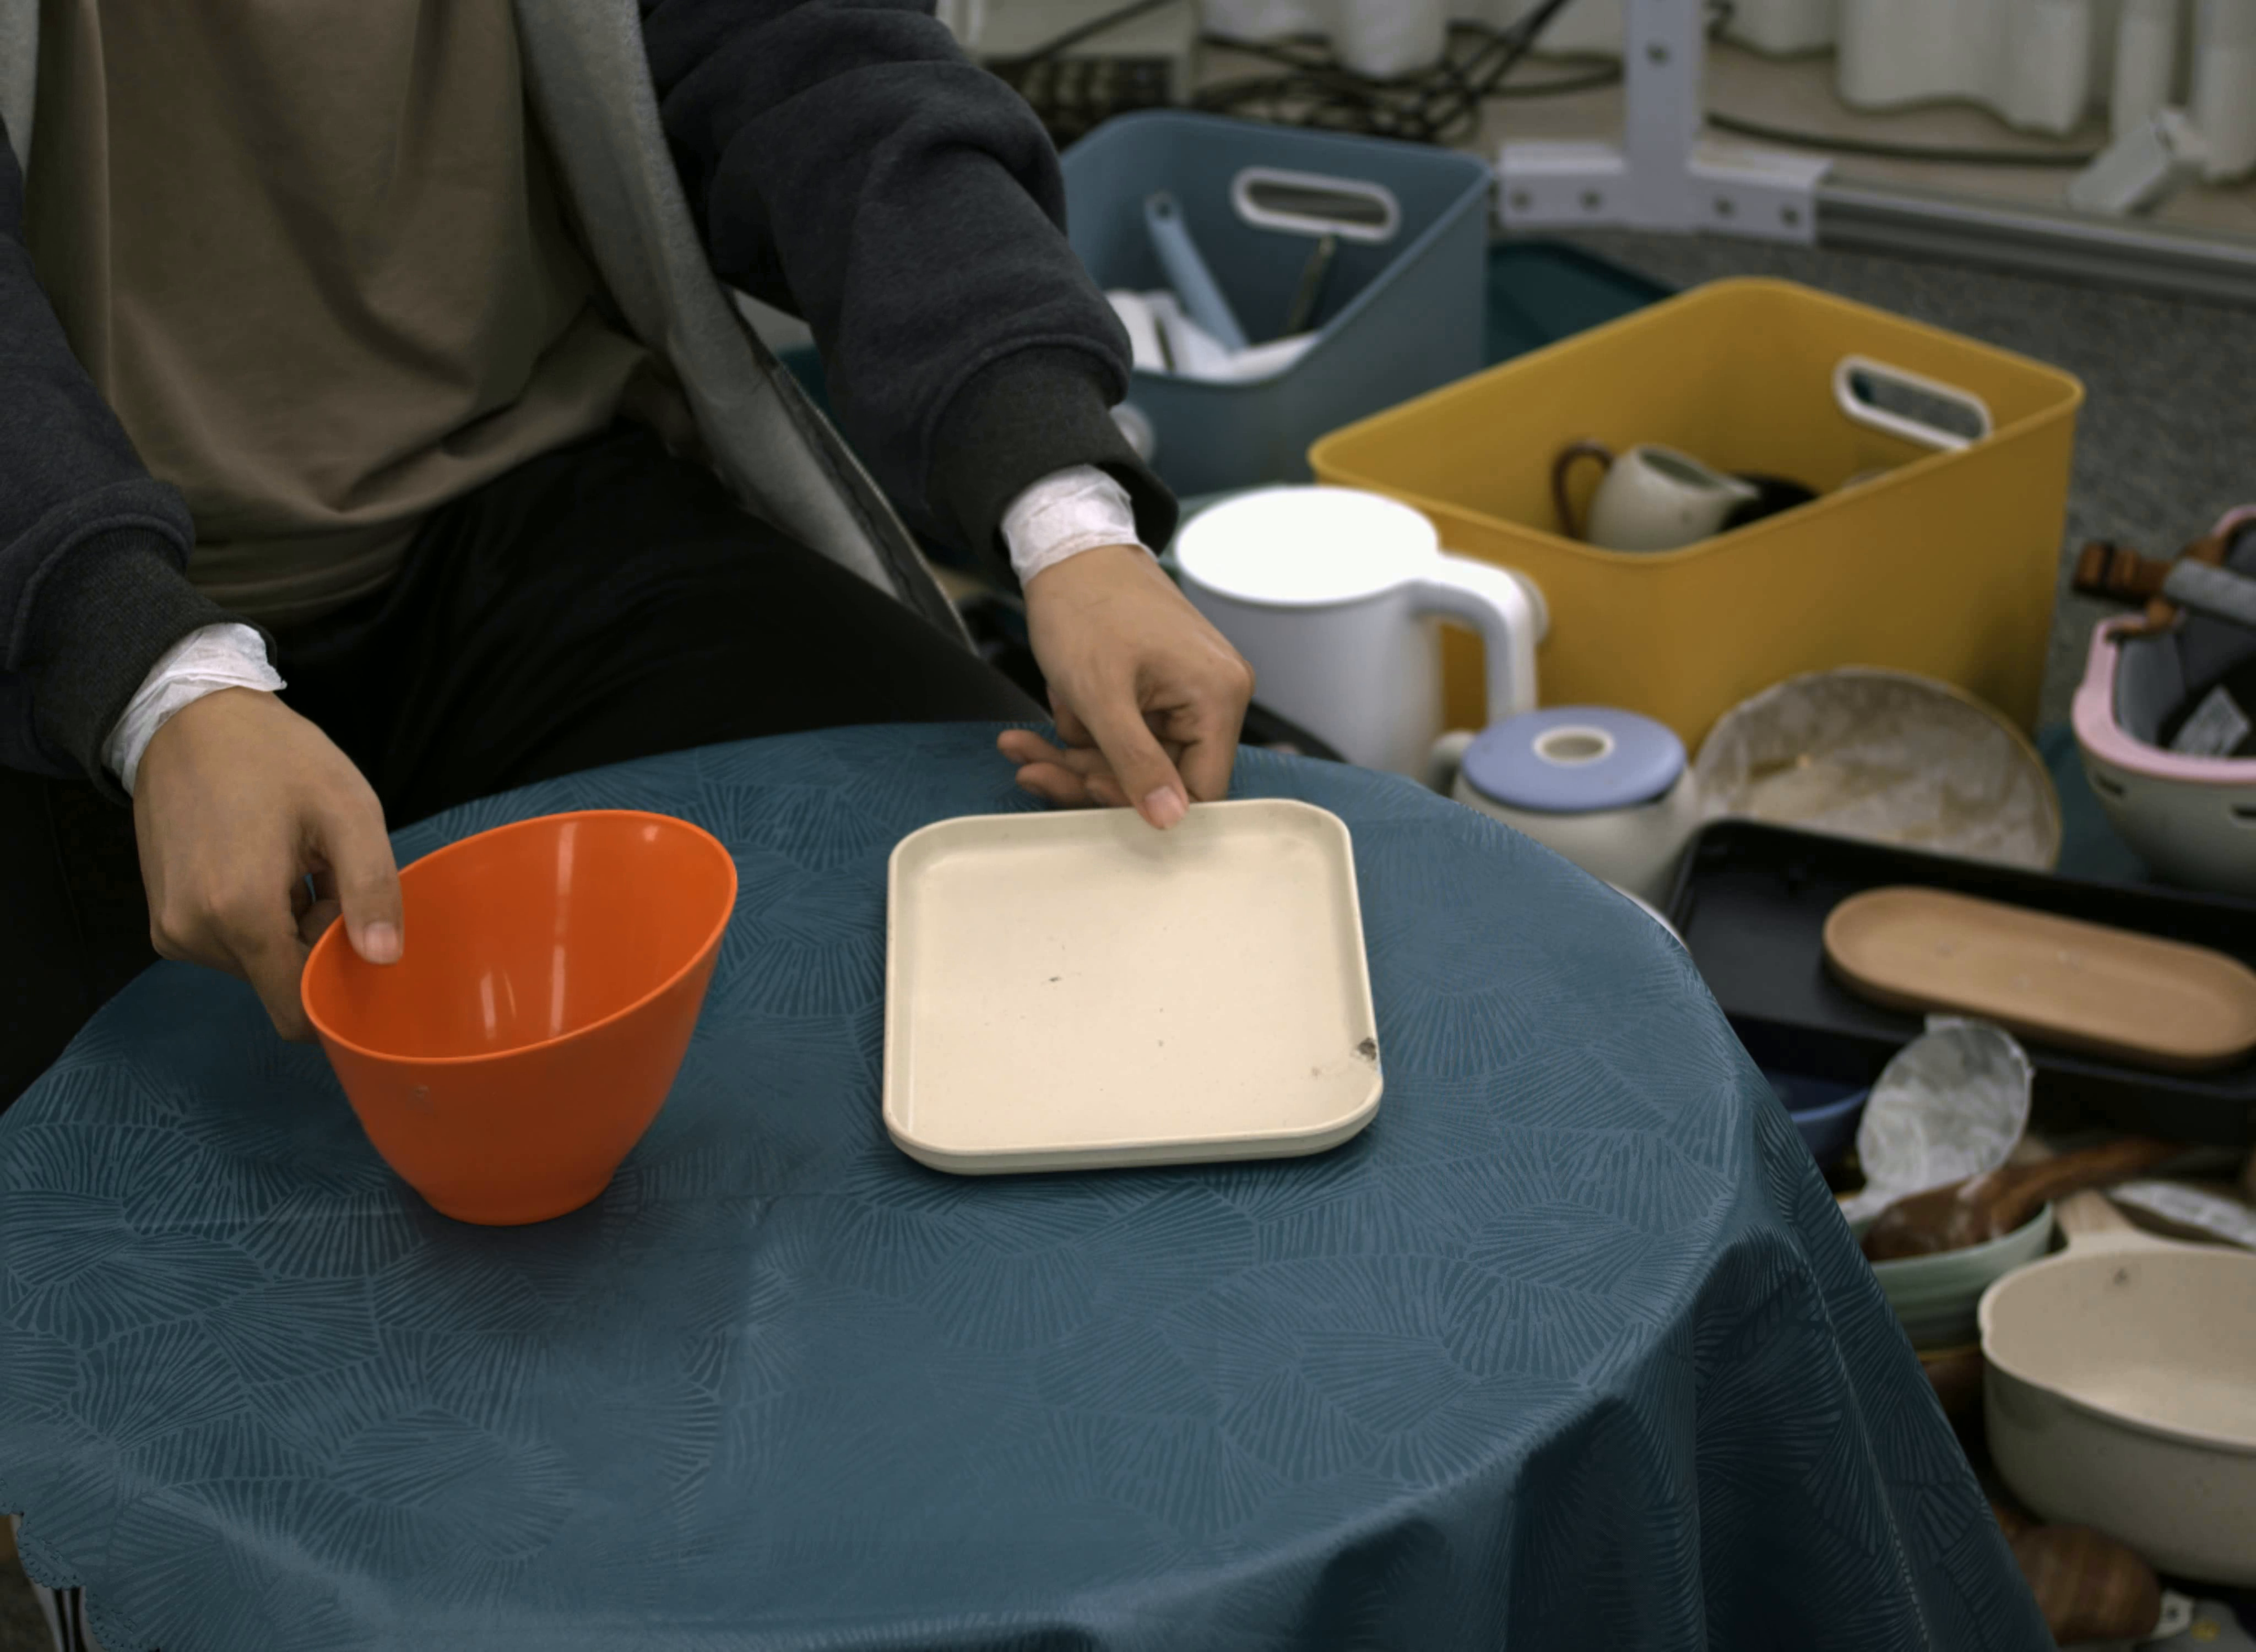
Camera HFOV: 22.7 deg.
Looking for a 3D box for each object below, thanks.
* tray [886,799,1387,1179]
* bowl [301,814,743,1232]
[{"bbox_3d":[0.000,0.056,1.970,0.170,0.017,0.243,-4,27,0],"label":"tray"},{"bbox_3d":[-0.198,0.072,1.869,0.147,0.103,0.150,-1,28,1],"label":"bowl"}]
